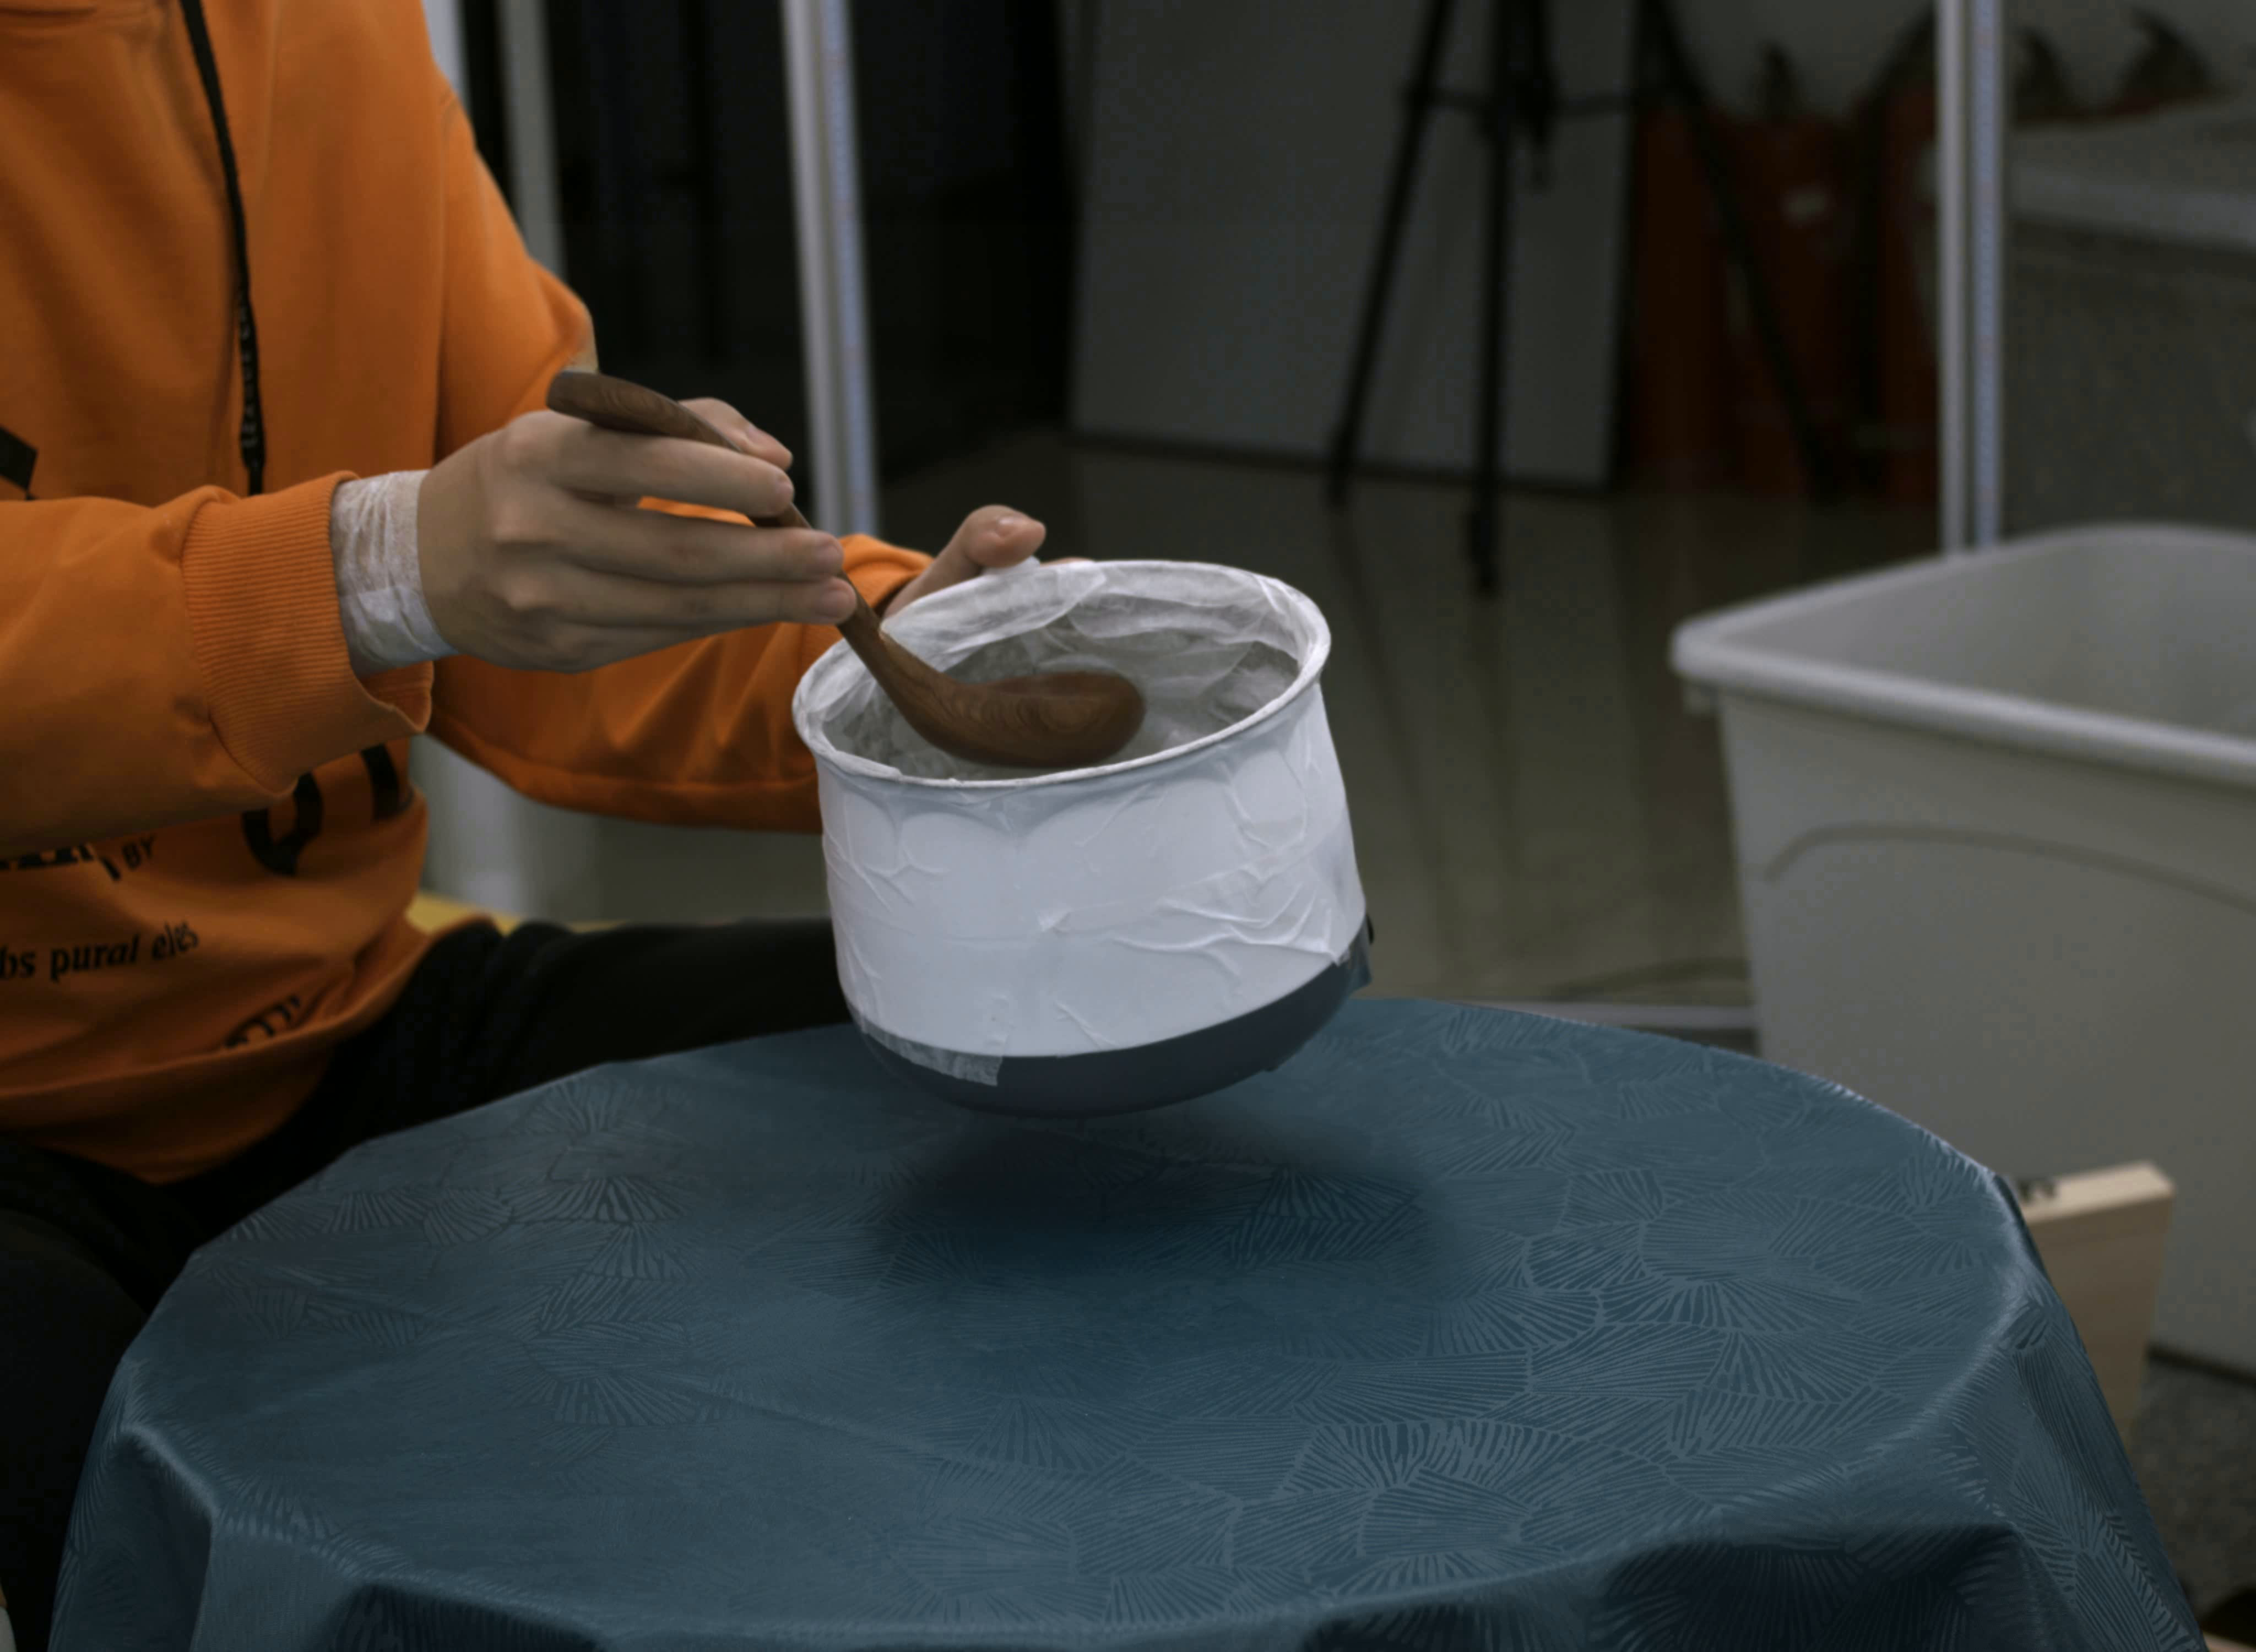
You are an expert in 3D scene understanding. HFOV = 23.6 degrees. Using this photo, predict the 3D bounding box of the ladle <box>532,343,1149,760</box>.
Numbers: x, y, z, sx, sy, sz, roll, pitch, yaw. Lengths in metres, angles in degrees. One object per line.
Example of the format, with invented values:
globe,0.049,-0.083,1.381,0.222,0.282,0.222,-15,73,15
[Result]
ladle,-0.089,-0.094,1.715,0.077,0.257,0.065,-3,54,45

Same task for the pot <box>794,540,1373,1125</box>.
pot,-0.018,-0.006,1.784,0.176,0.137,0.235,-12,24,-7
